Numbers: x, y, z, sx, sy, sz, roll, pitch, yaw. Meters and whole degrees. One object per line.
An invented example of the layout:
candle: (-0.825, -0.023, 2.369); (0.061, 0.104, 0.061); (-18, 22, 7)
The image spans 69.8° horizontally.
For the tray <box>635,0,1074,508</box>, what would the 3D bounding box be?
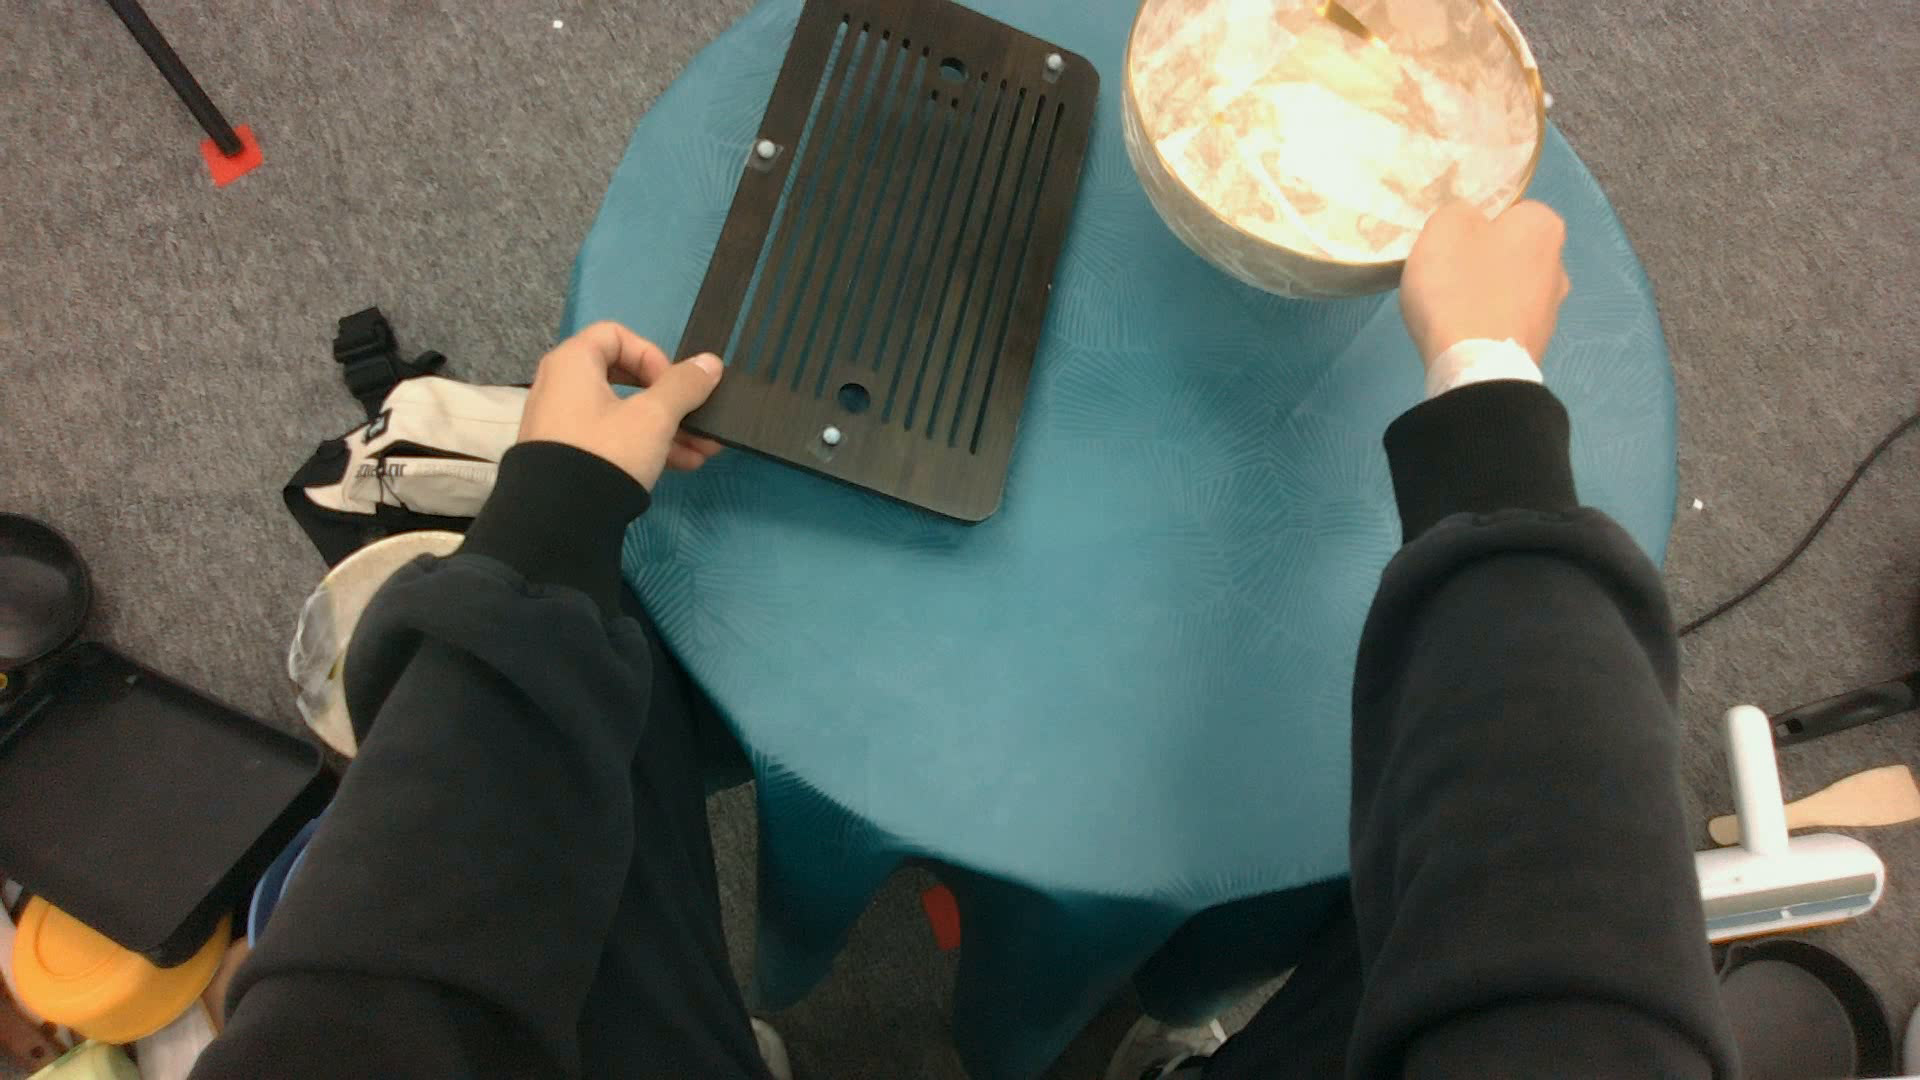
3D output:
tray: (-0.045, -0.172, 0.721); (0.170, 0.018, 0.307); (19, 65, -11)

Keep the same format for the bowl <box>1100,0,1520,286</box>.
bowl: (0.158, -0.205, 0.688); (0.215, 0.094, 0.215); (3, 69, -8)
